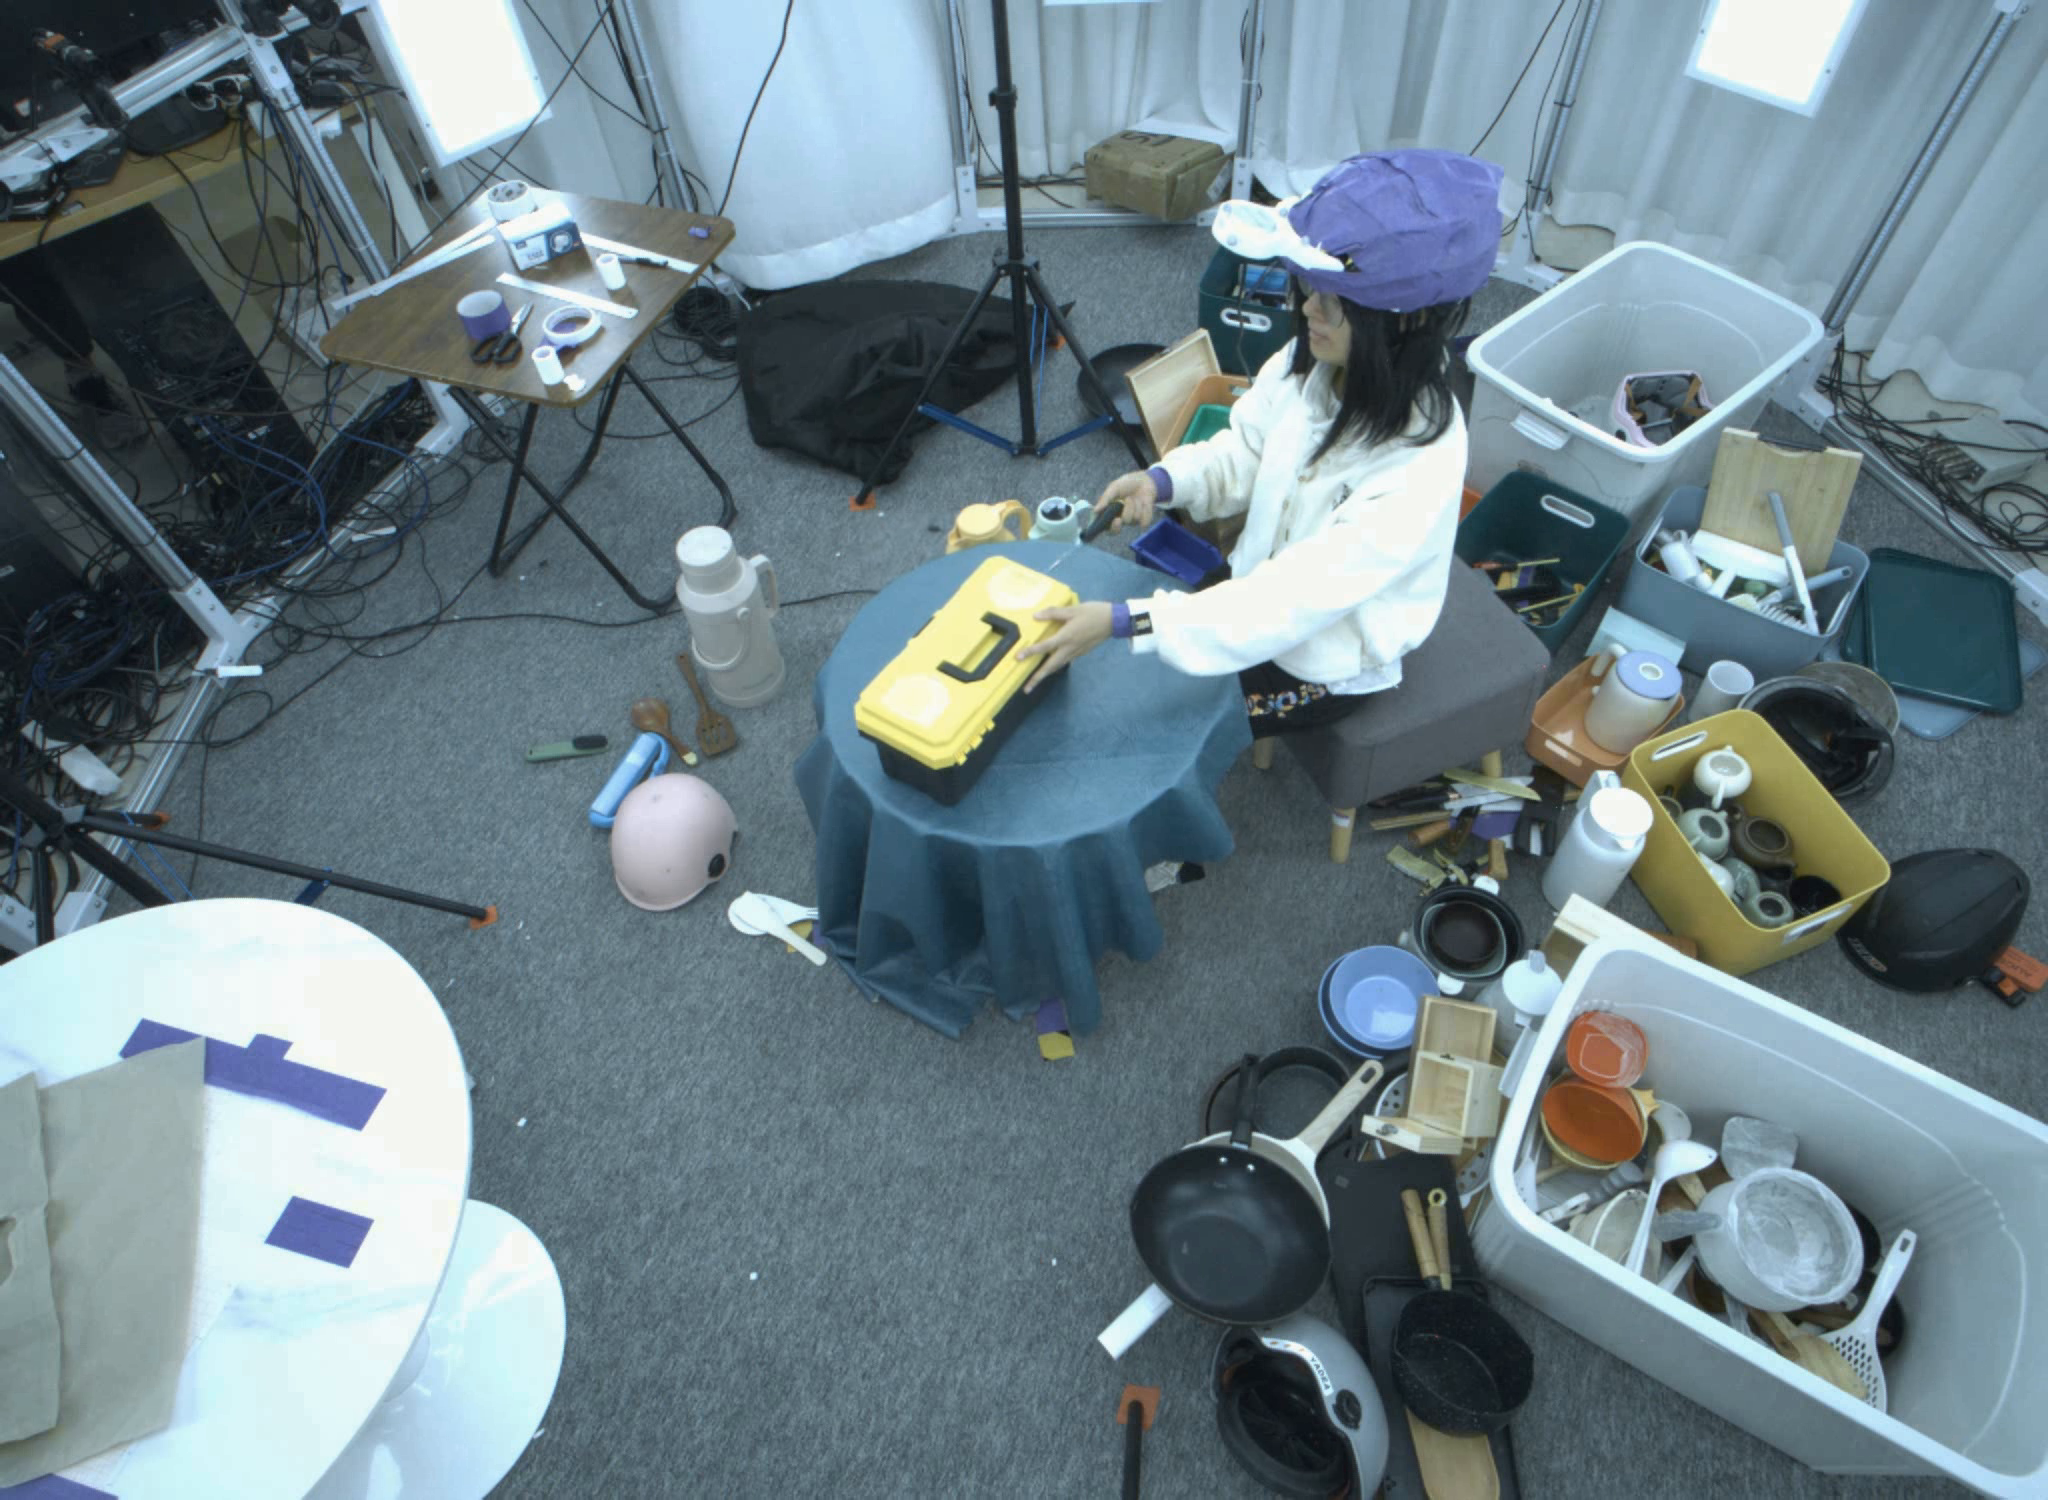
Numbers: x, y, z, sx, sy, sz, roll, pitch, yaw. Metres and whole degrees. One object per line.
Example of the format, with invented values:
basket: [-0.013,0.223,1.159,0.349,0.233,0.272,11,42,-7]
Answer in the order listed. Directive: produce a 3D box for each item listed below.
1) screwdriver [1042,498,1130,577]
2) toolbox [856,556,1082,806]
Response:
screwdriver: [0.091,-0.313,1.808,0.031,0.032,0.199,32,58,23]
toolbox: [-0.072,-0.099,1.754,0.178,0.175,0.353,28,60,20]
